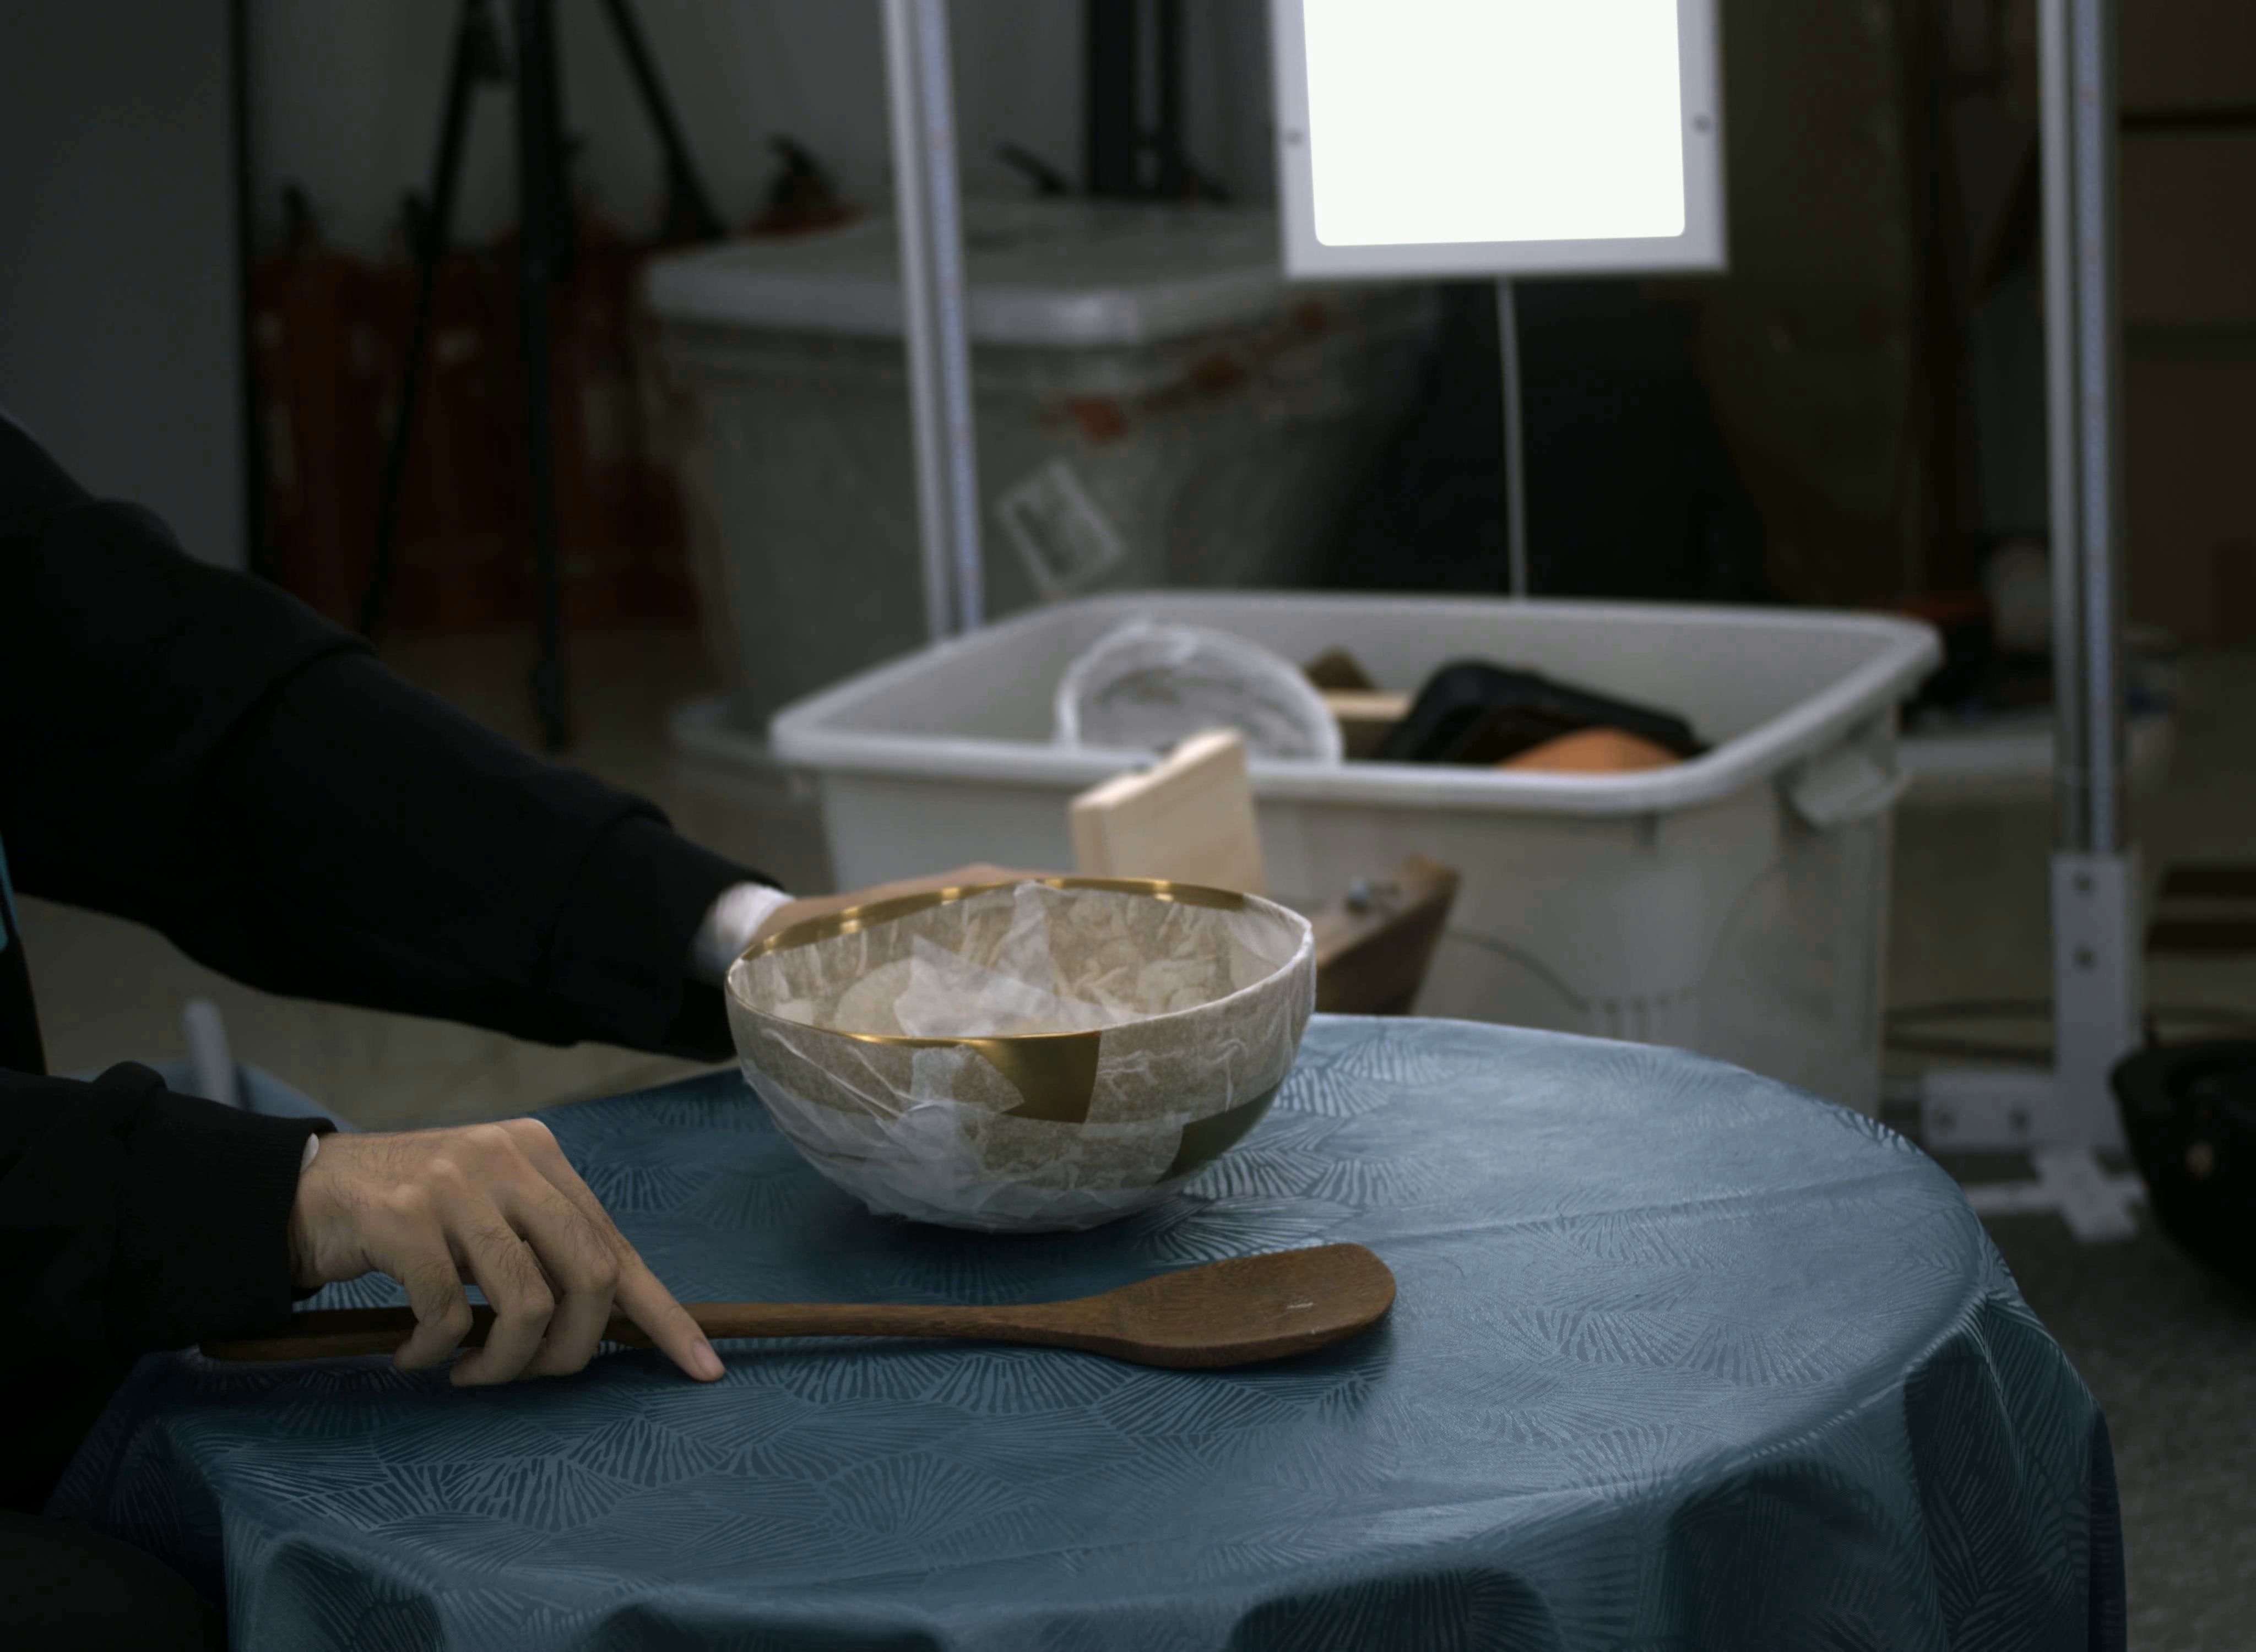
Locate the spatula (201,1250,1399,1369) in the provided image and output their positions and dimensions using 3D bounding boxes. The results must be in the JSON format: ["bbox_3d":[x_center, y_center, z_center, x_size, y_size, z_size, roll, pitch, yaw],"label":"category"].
[{"bbox_3d":[-0.106,0.157,1.761,0.386,0.016,0.095,-1,13,5],"label":"spatula"}]

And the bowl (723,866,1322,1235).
[{"bbox_3d":[-0.035,0.084,1.885,0.214,0.095,0.214,-6,15,0],"label":"bowl"}]
